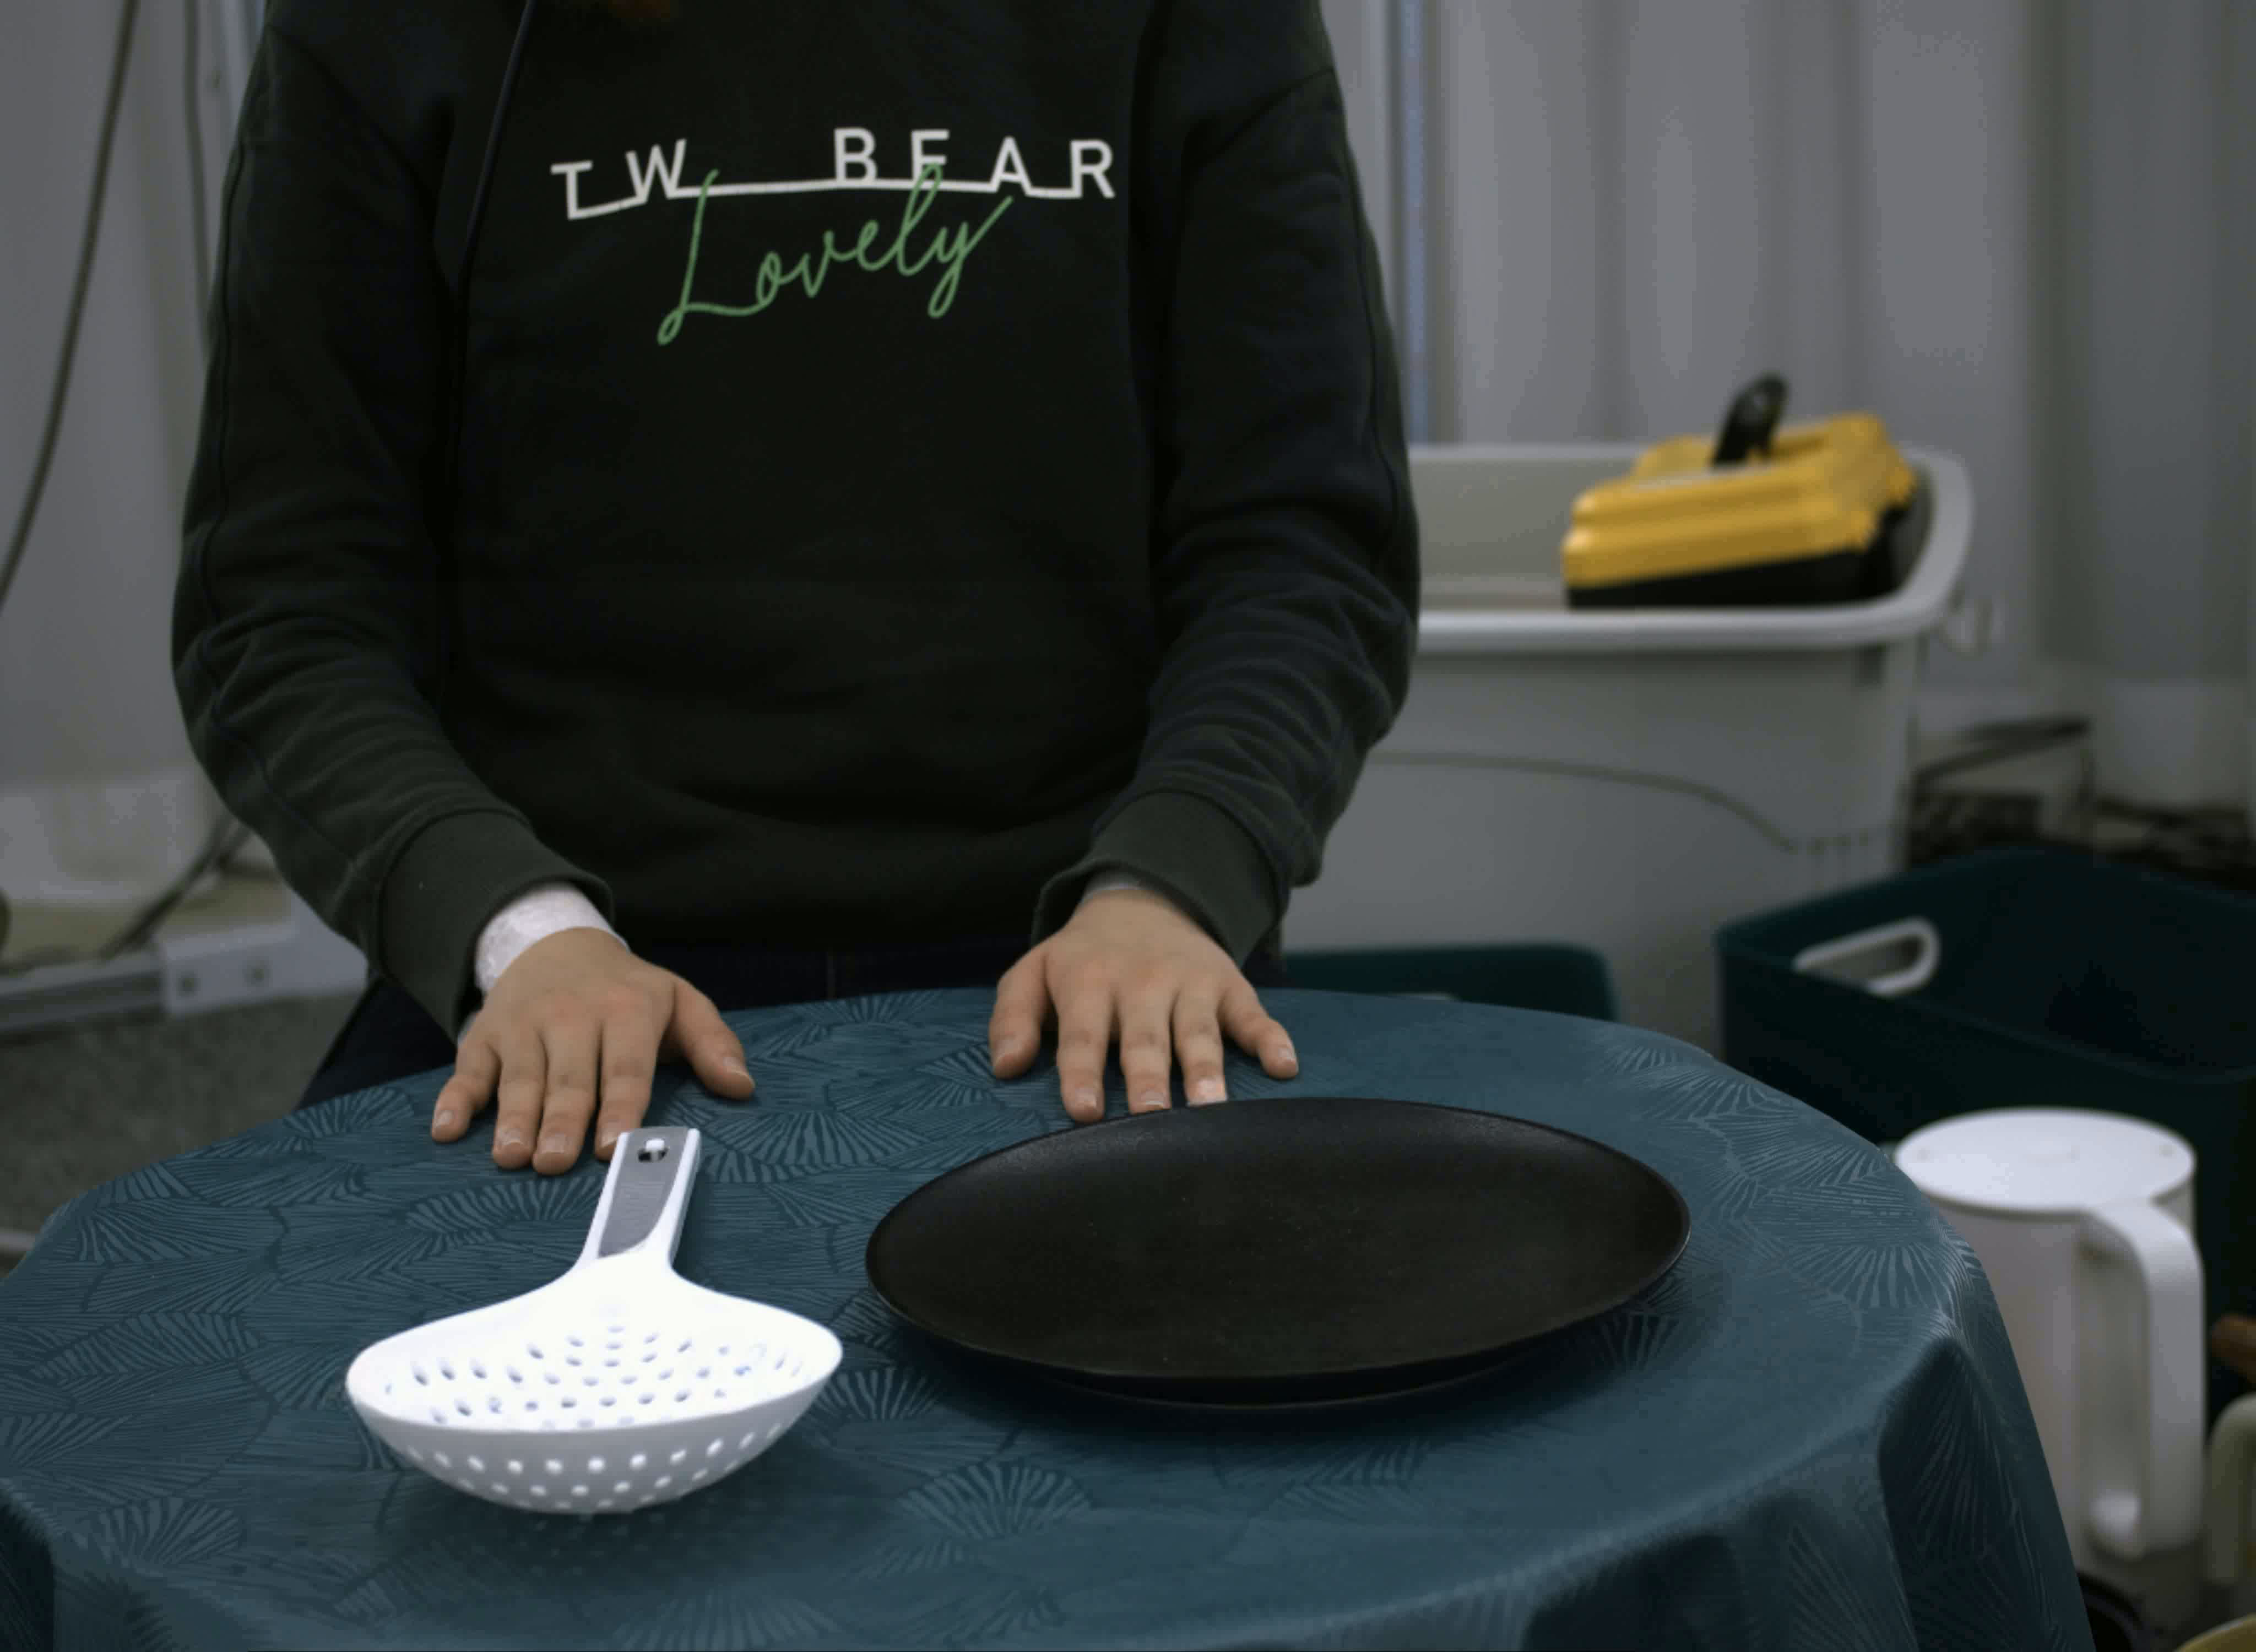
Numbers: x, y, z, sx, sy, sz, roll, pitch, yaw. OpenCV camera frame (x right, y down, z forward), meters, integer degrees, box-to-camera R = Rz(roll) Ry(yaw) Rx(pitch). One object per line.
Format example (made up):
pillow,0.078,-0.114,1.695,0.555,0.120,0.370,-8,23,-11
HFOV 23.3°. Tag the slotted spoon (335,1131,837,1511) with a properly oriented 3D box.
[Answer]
slotted spoon,-0.147,0.134,1.583,0.135,0.045,0.352,-1,14,0

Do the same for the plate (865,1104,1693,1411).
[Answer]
plate,0.045,0.129,1.609,0.243,0.023,0.246,-3,15,0
